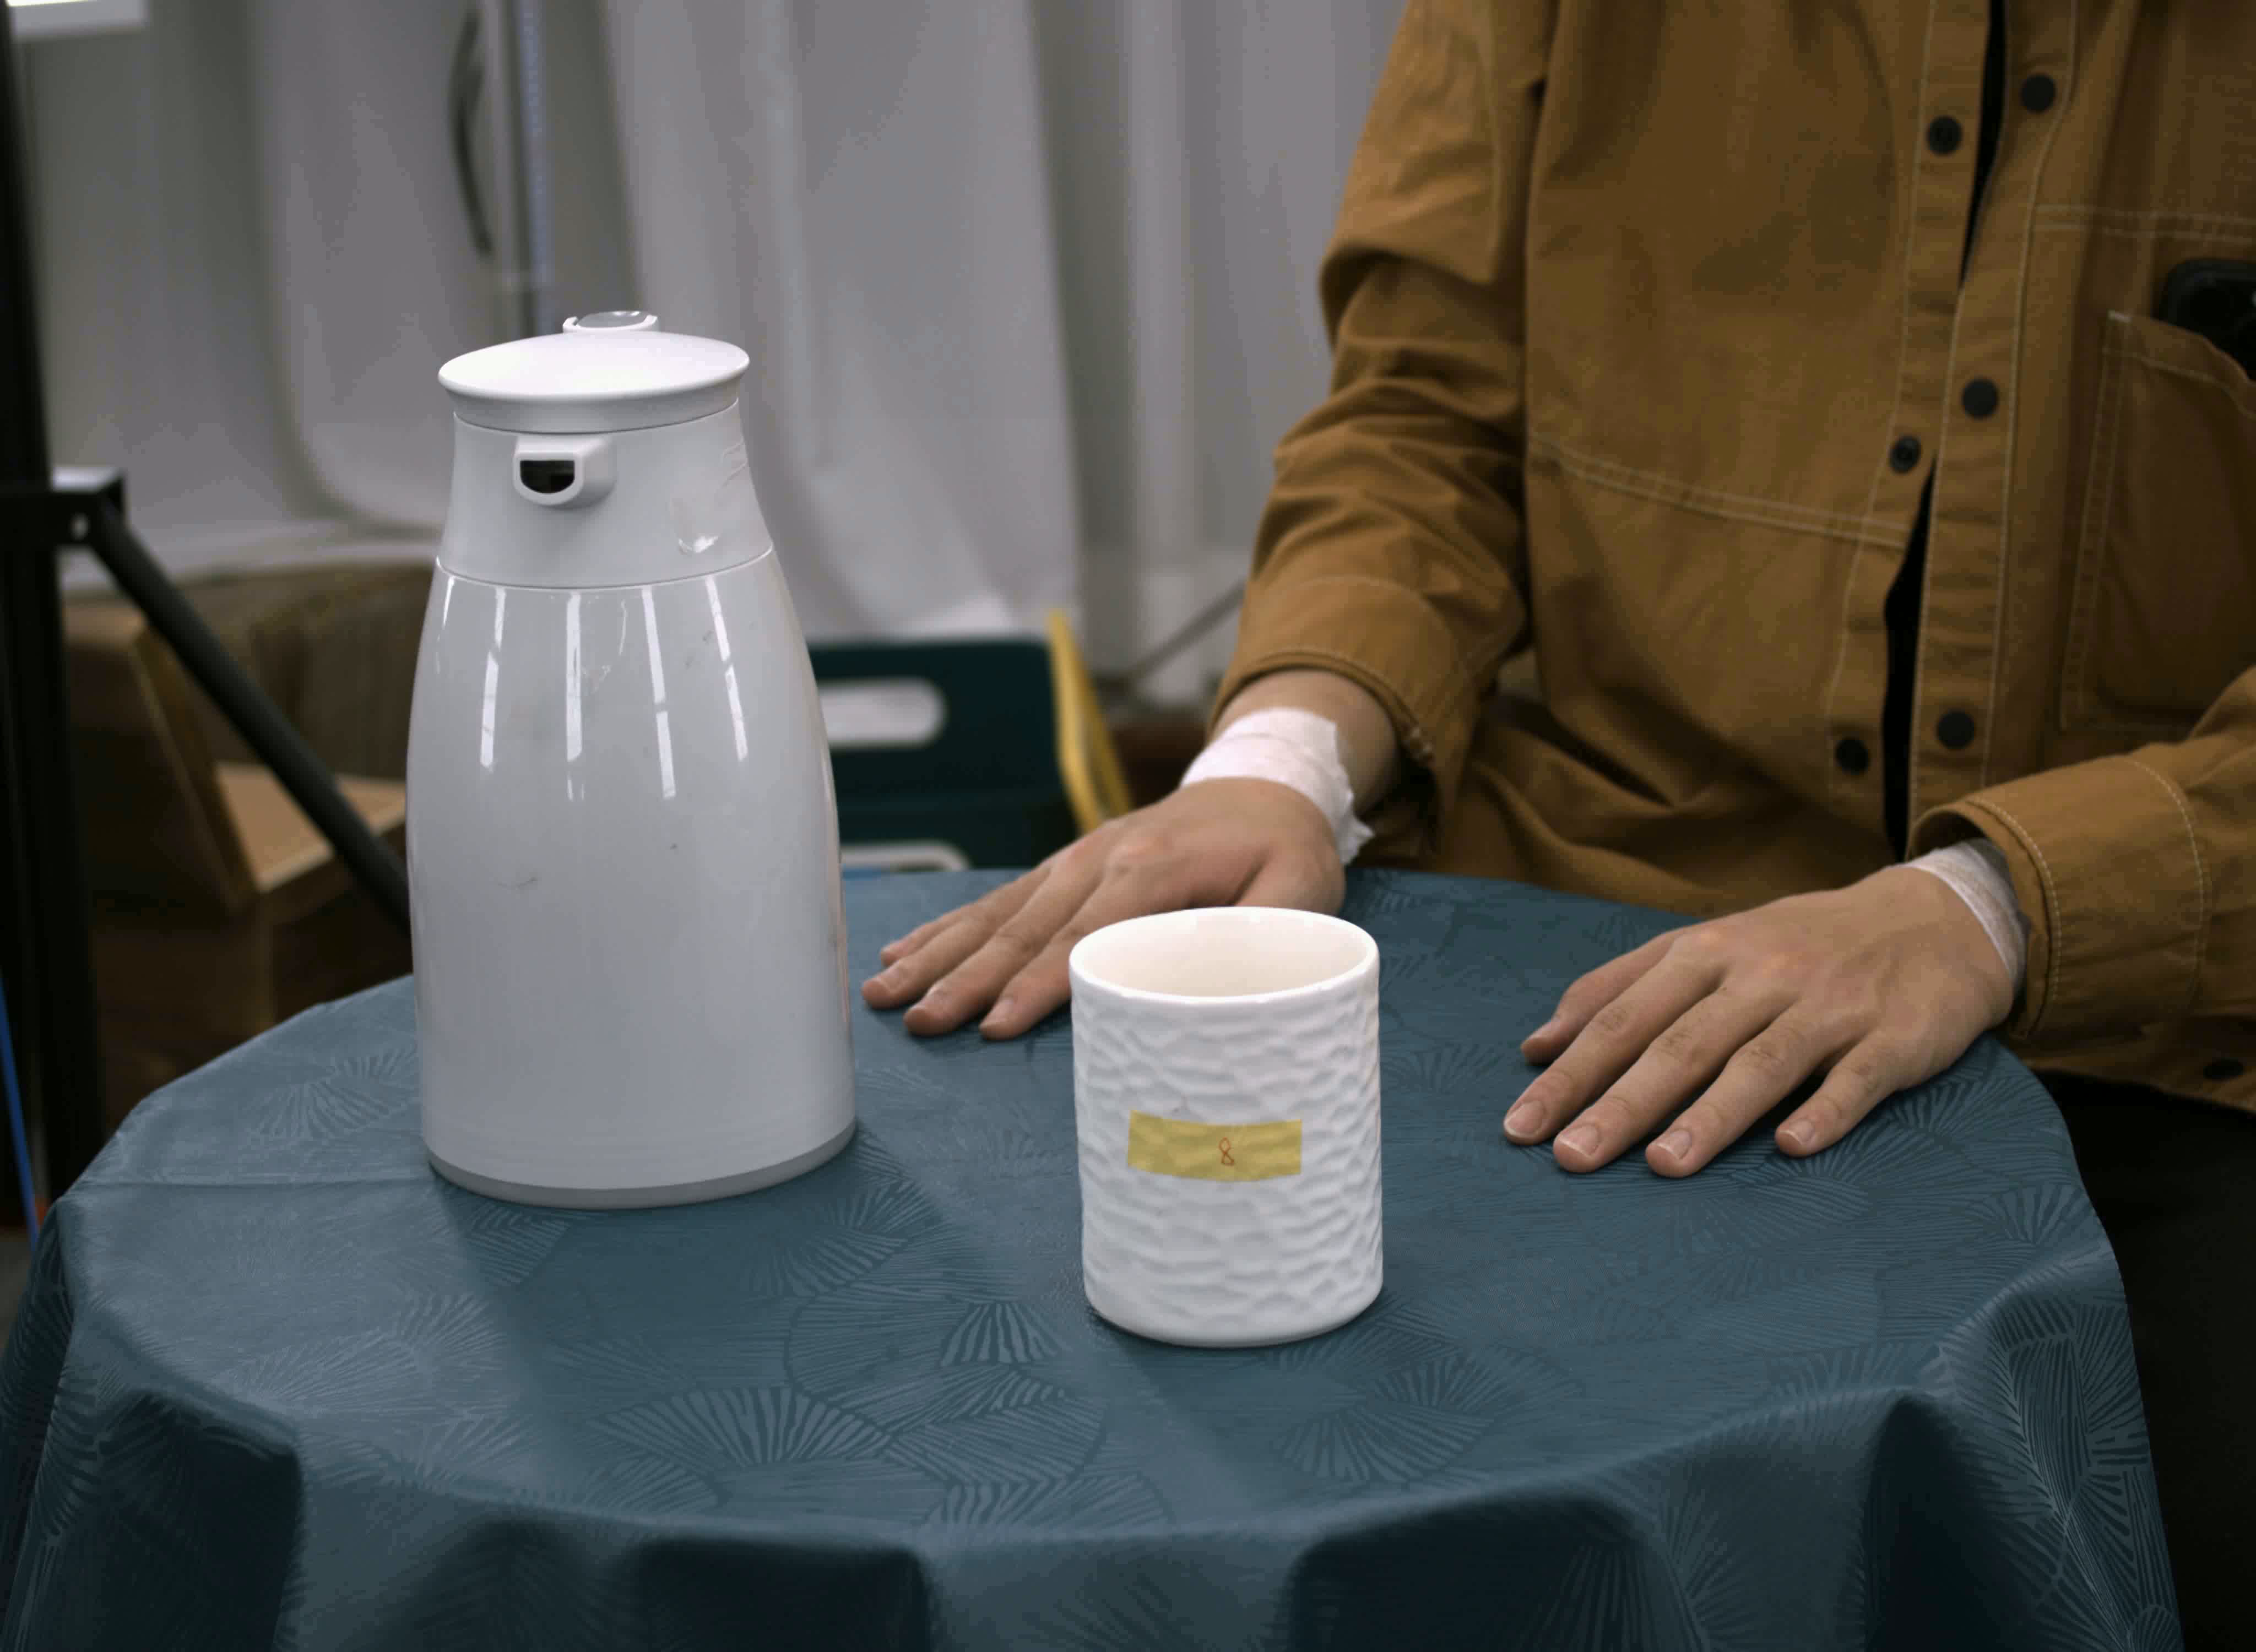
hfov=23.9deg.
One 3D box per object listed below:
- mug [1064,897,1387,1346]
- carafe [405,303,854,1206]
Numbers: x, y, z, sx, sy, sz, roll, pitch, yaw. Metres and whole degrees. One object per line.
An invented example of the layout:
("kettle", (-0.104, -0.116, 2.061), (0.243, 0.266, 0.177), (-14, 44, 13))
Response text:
("mug", (0.035, 0.076, 1.464), (0.086, 0.102, 0.116), (5, 19, 28))
("carafe", (-0.152, -0.030, 1.612), (0.133, 0.248, 0.167), (-1, 15, 8))
